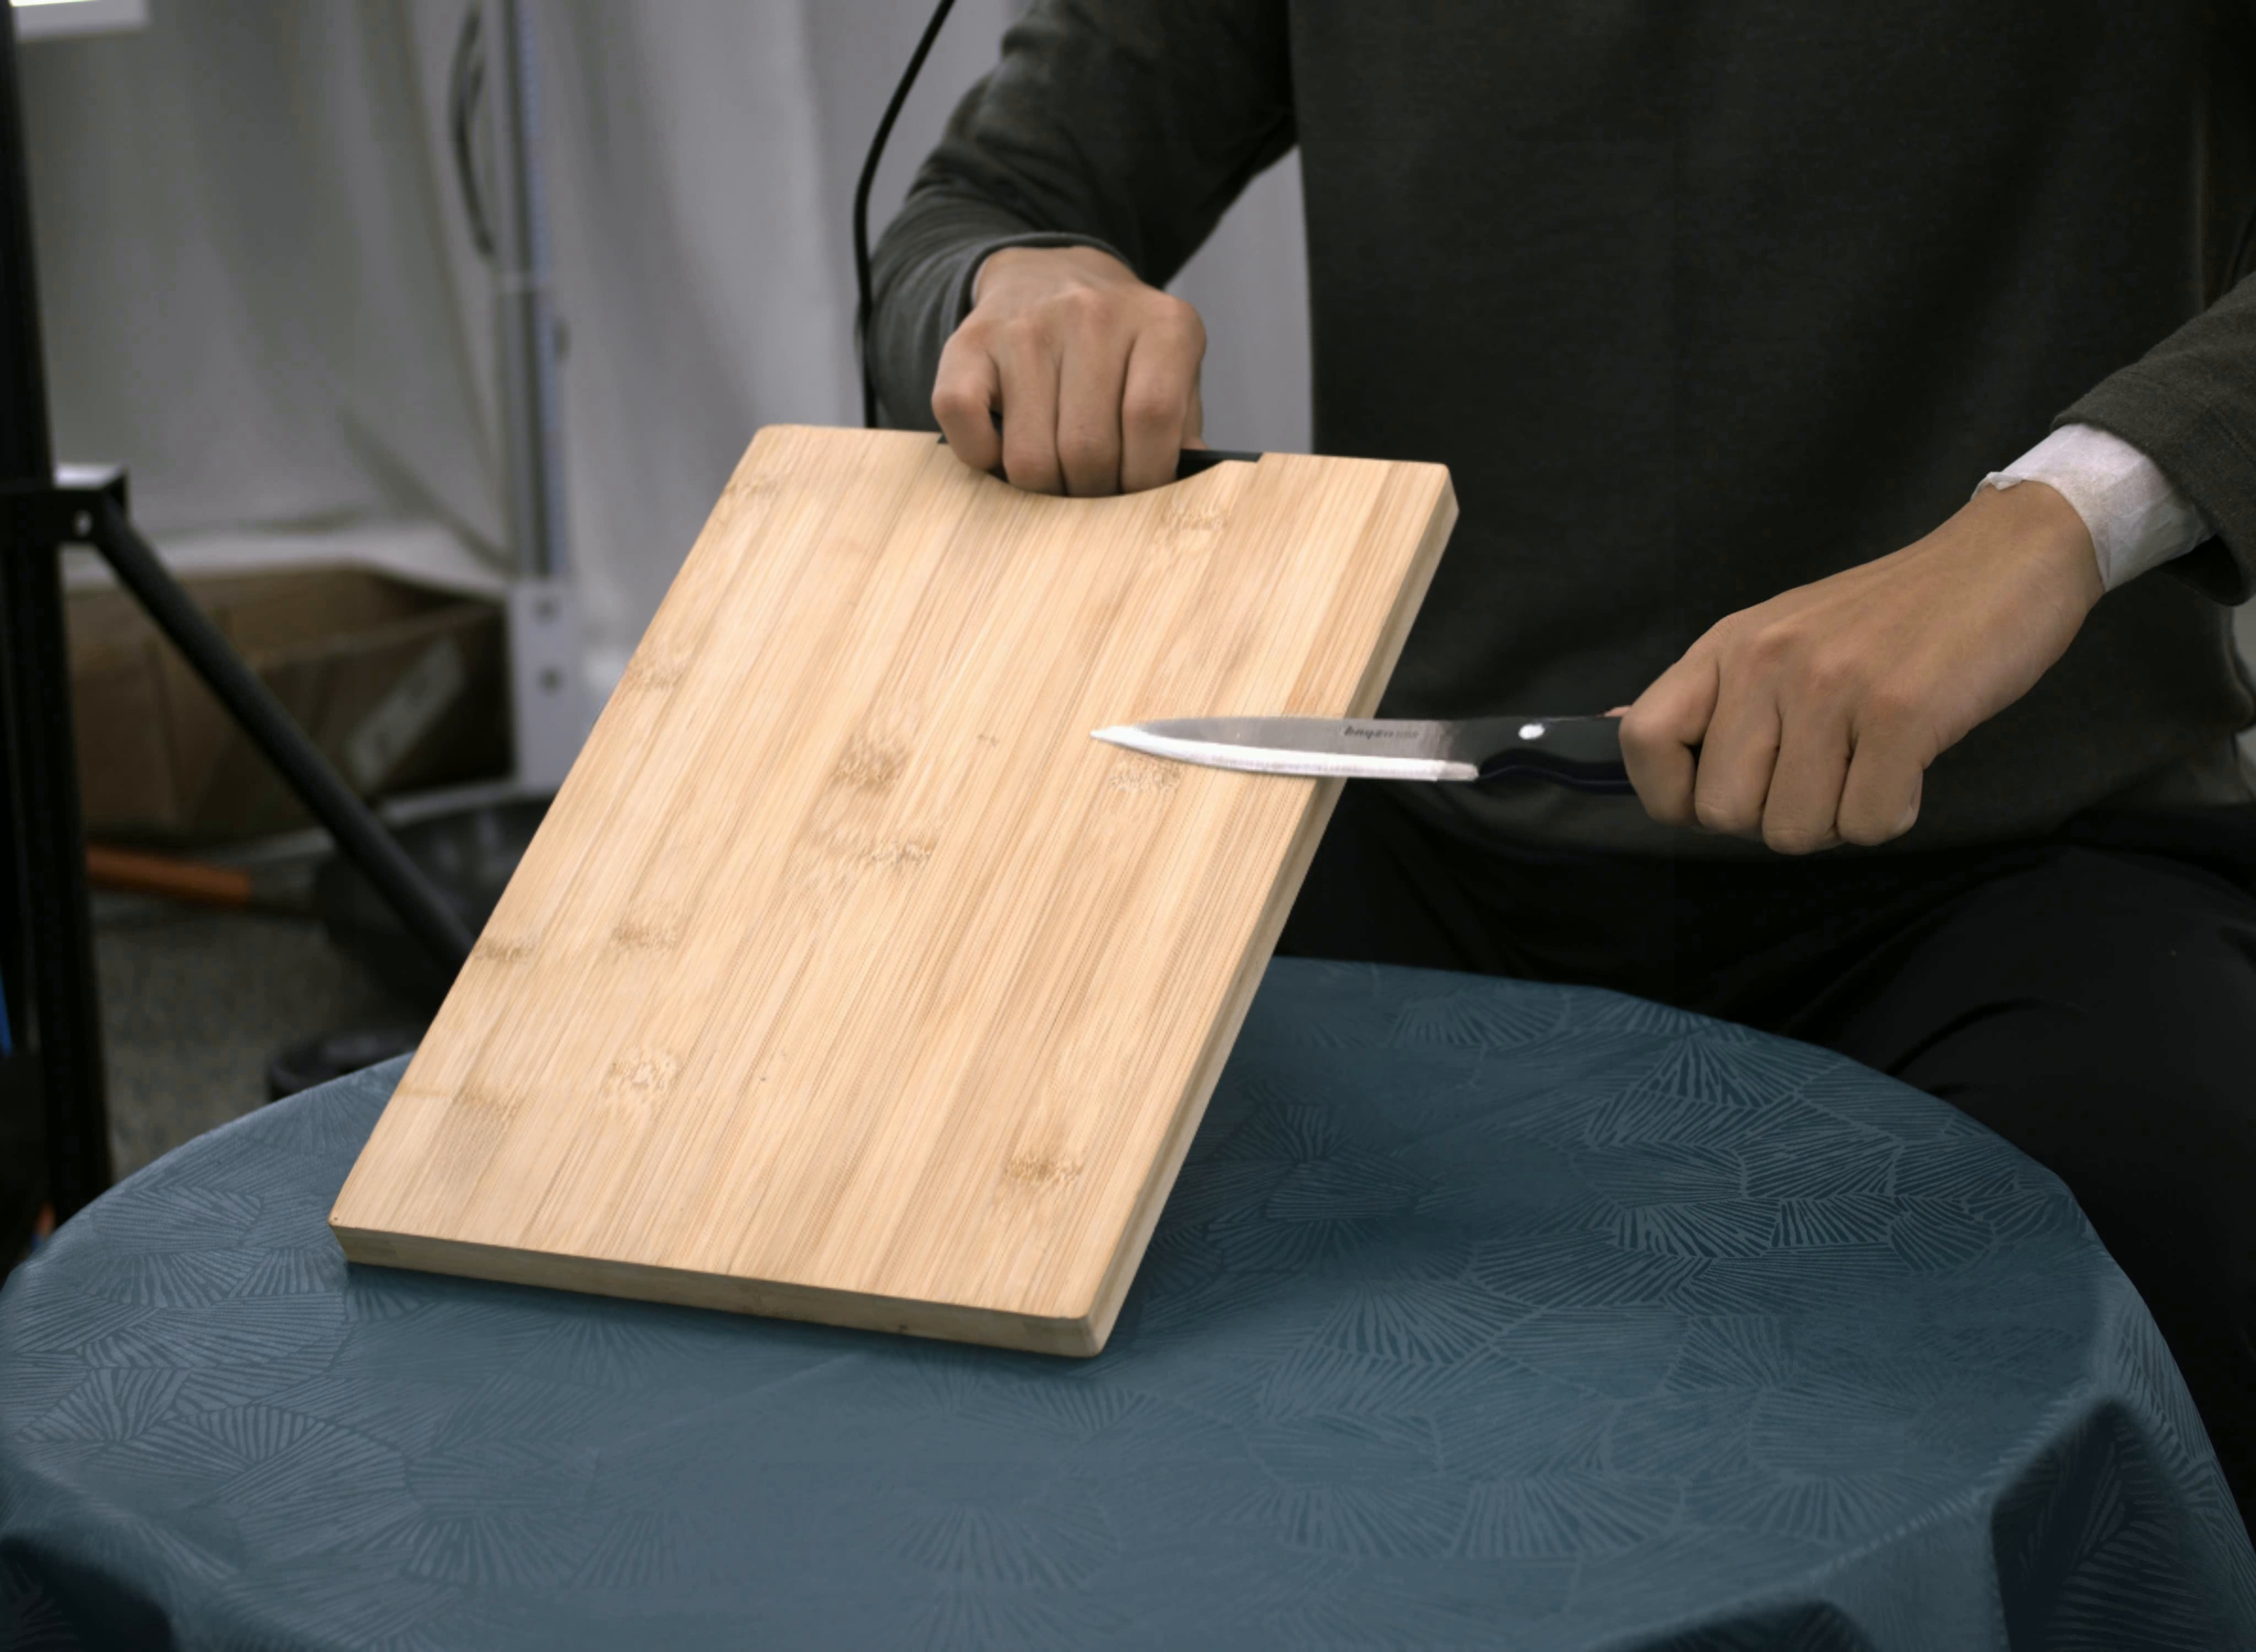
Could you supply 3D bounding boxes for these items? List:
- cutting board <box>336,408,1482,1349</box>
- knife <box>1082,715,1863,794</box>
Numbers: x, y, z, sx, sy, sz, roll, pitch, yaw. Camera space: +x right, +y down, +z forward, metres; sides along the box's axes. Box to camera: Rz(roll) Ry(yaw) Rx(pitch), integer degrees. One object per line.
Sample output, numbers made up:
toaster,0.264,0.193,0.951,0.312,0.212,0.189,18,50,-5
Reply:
cutting board,-0.060,0.004,1.587,0.254,0.023,0.348,4,48,24
knife,0.097,-0.021,1.532,0.241,0.016,0.024,1,45,25
